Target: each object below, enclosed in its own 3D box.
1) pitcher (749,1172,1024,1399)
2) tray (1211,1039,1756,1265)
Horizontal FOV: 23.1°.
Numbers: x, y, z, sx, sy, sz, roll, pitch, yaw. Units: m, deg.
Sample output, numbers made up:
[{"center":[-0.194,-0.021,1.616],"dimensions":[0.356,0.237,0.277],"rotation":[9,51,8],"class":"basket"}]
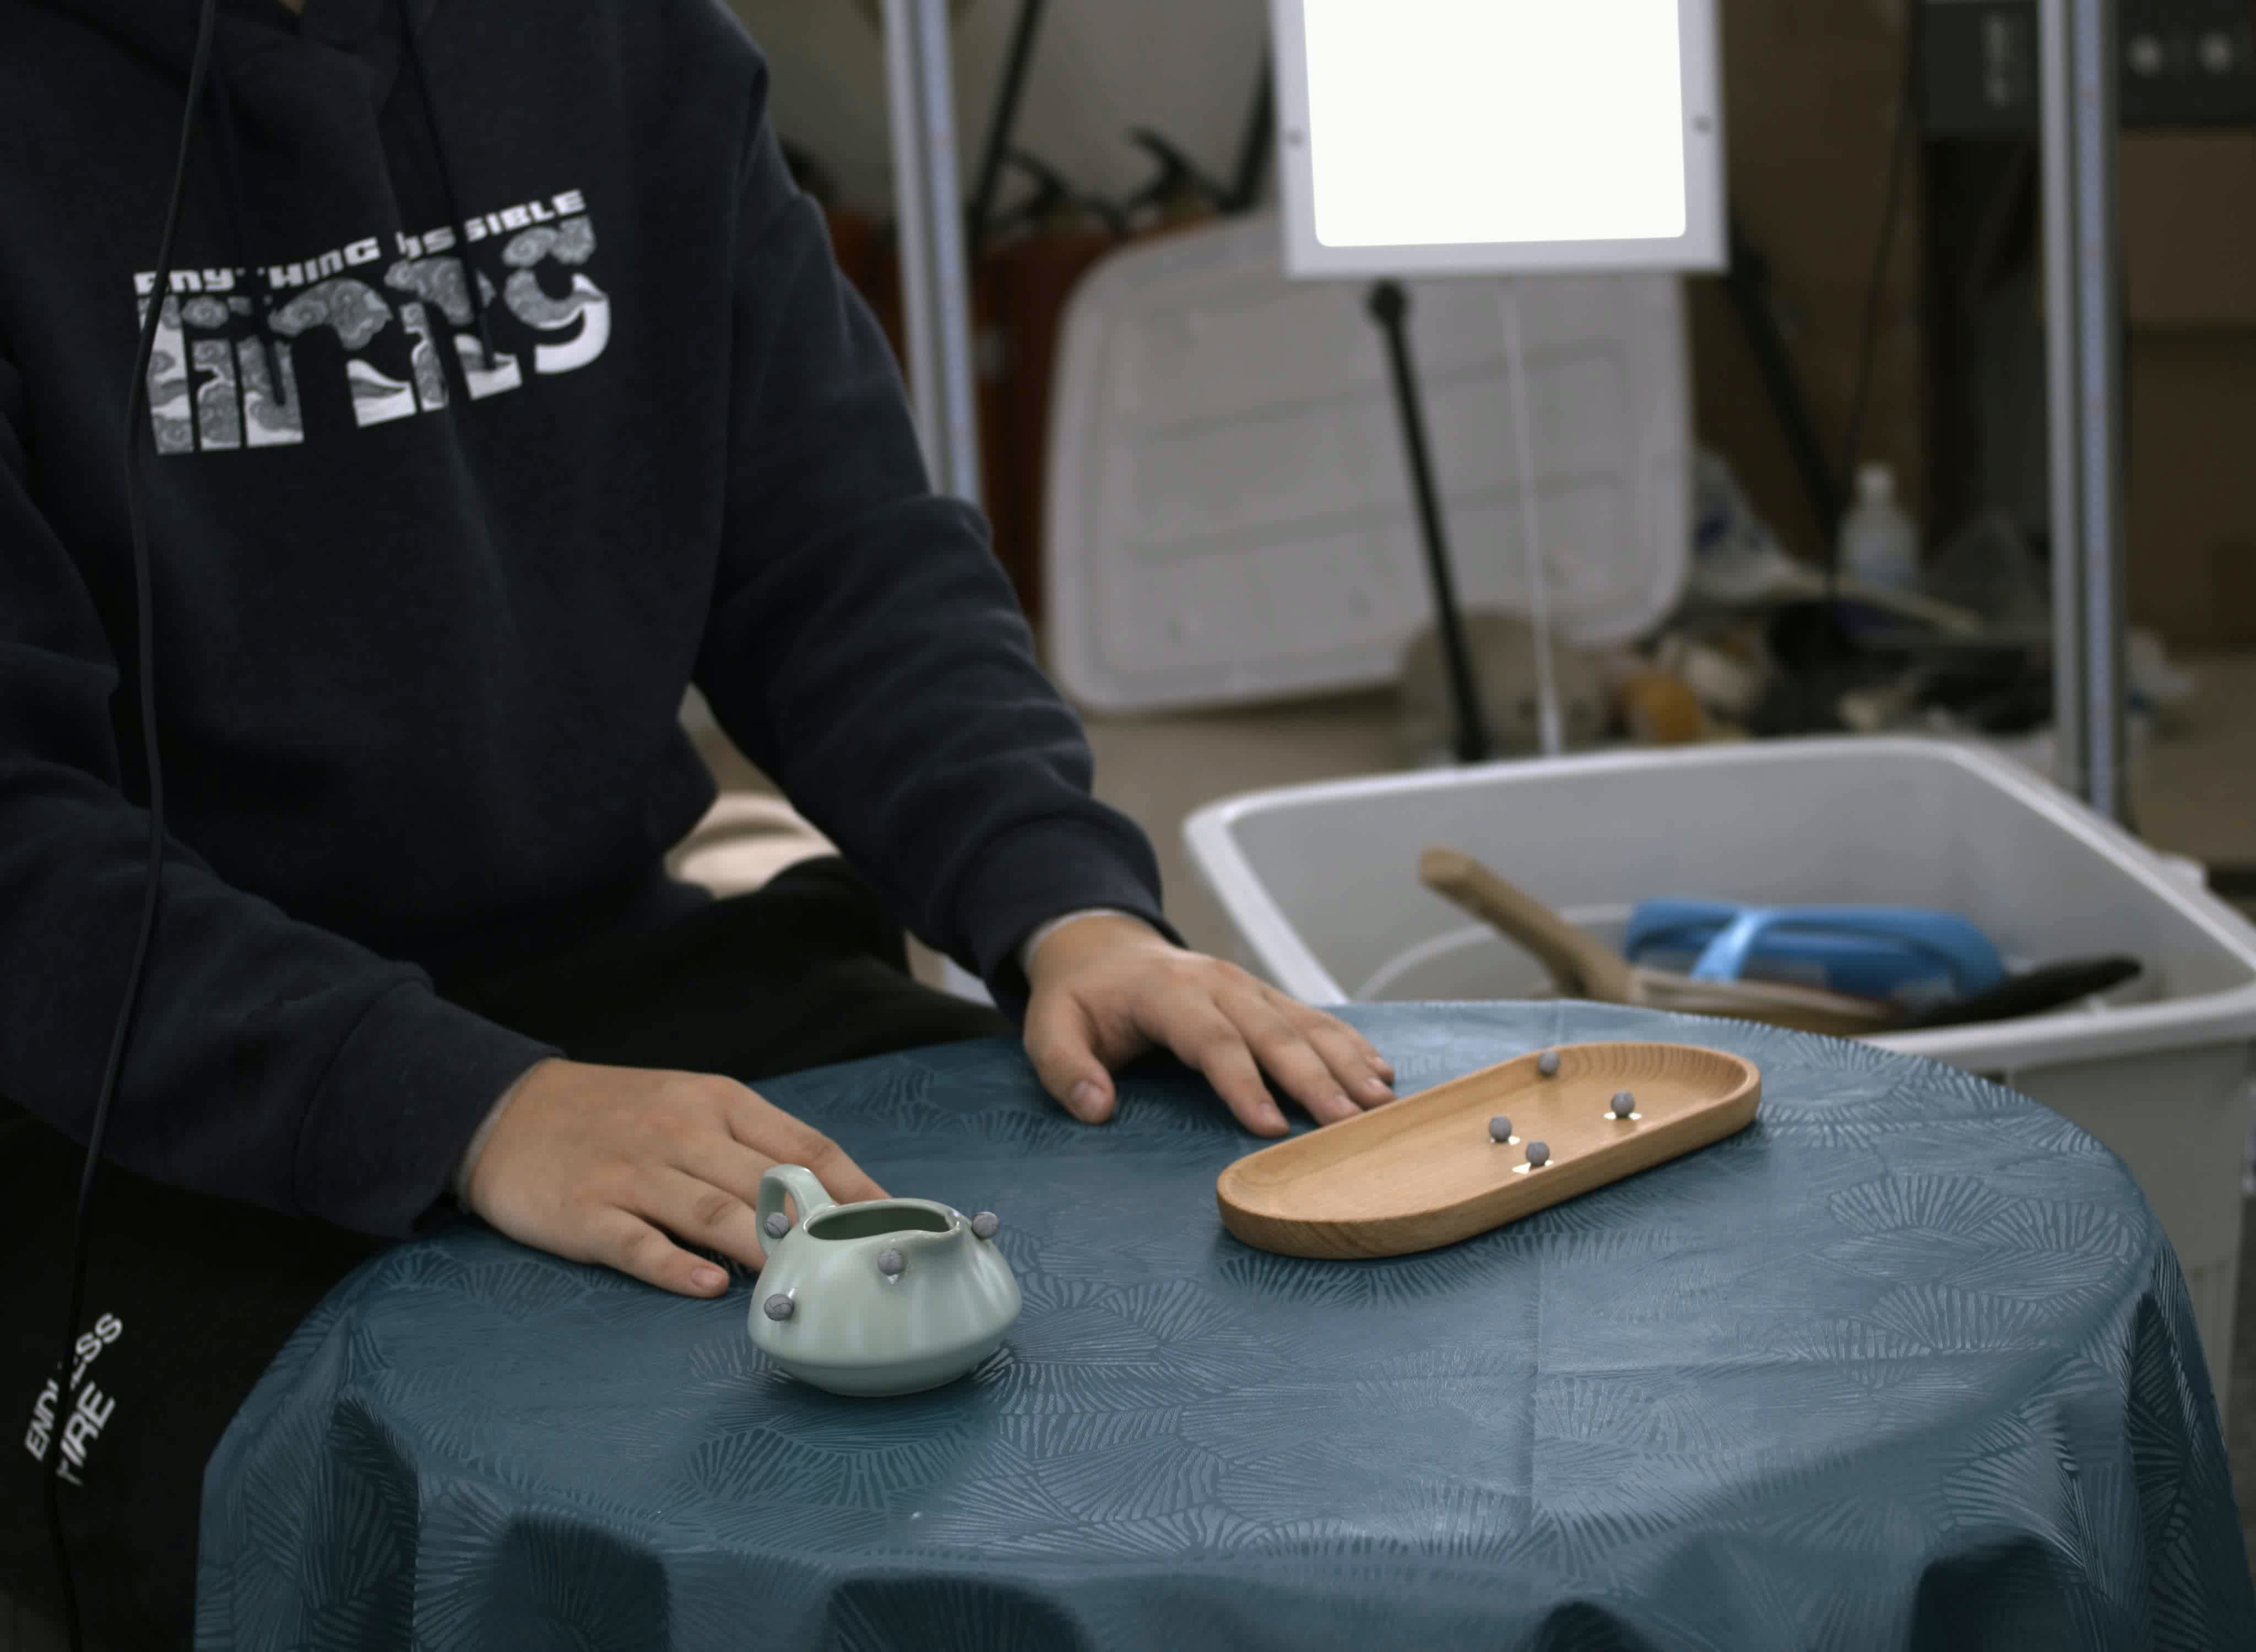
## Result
[{"center":[-0.084,0.144,1.737],"dimensions":[0.084,0.060,0.110],"rotation":[-13,14,-36],"class":"pitcher"},{"center":[0.125,0.111,1.887],"dimensions":[0.225,0.020,0.104],"rotation":[-20,18,-40],"class":"tray"}]
